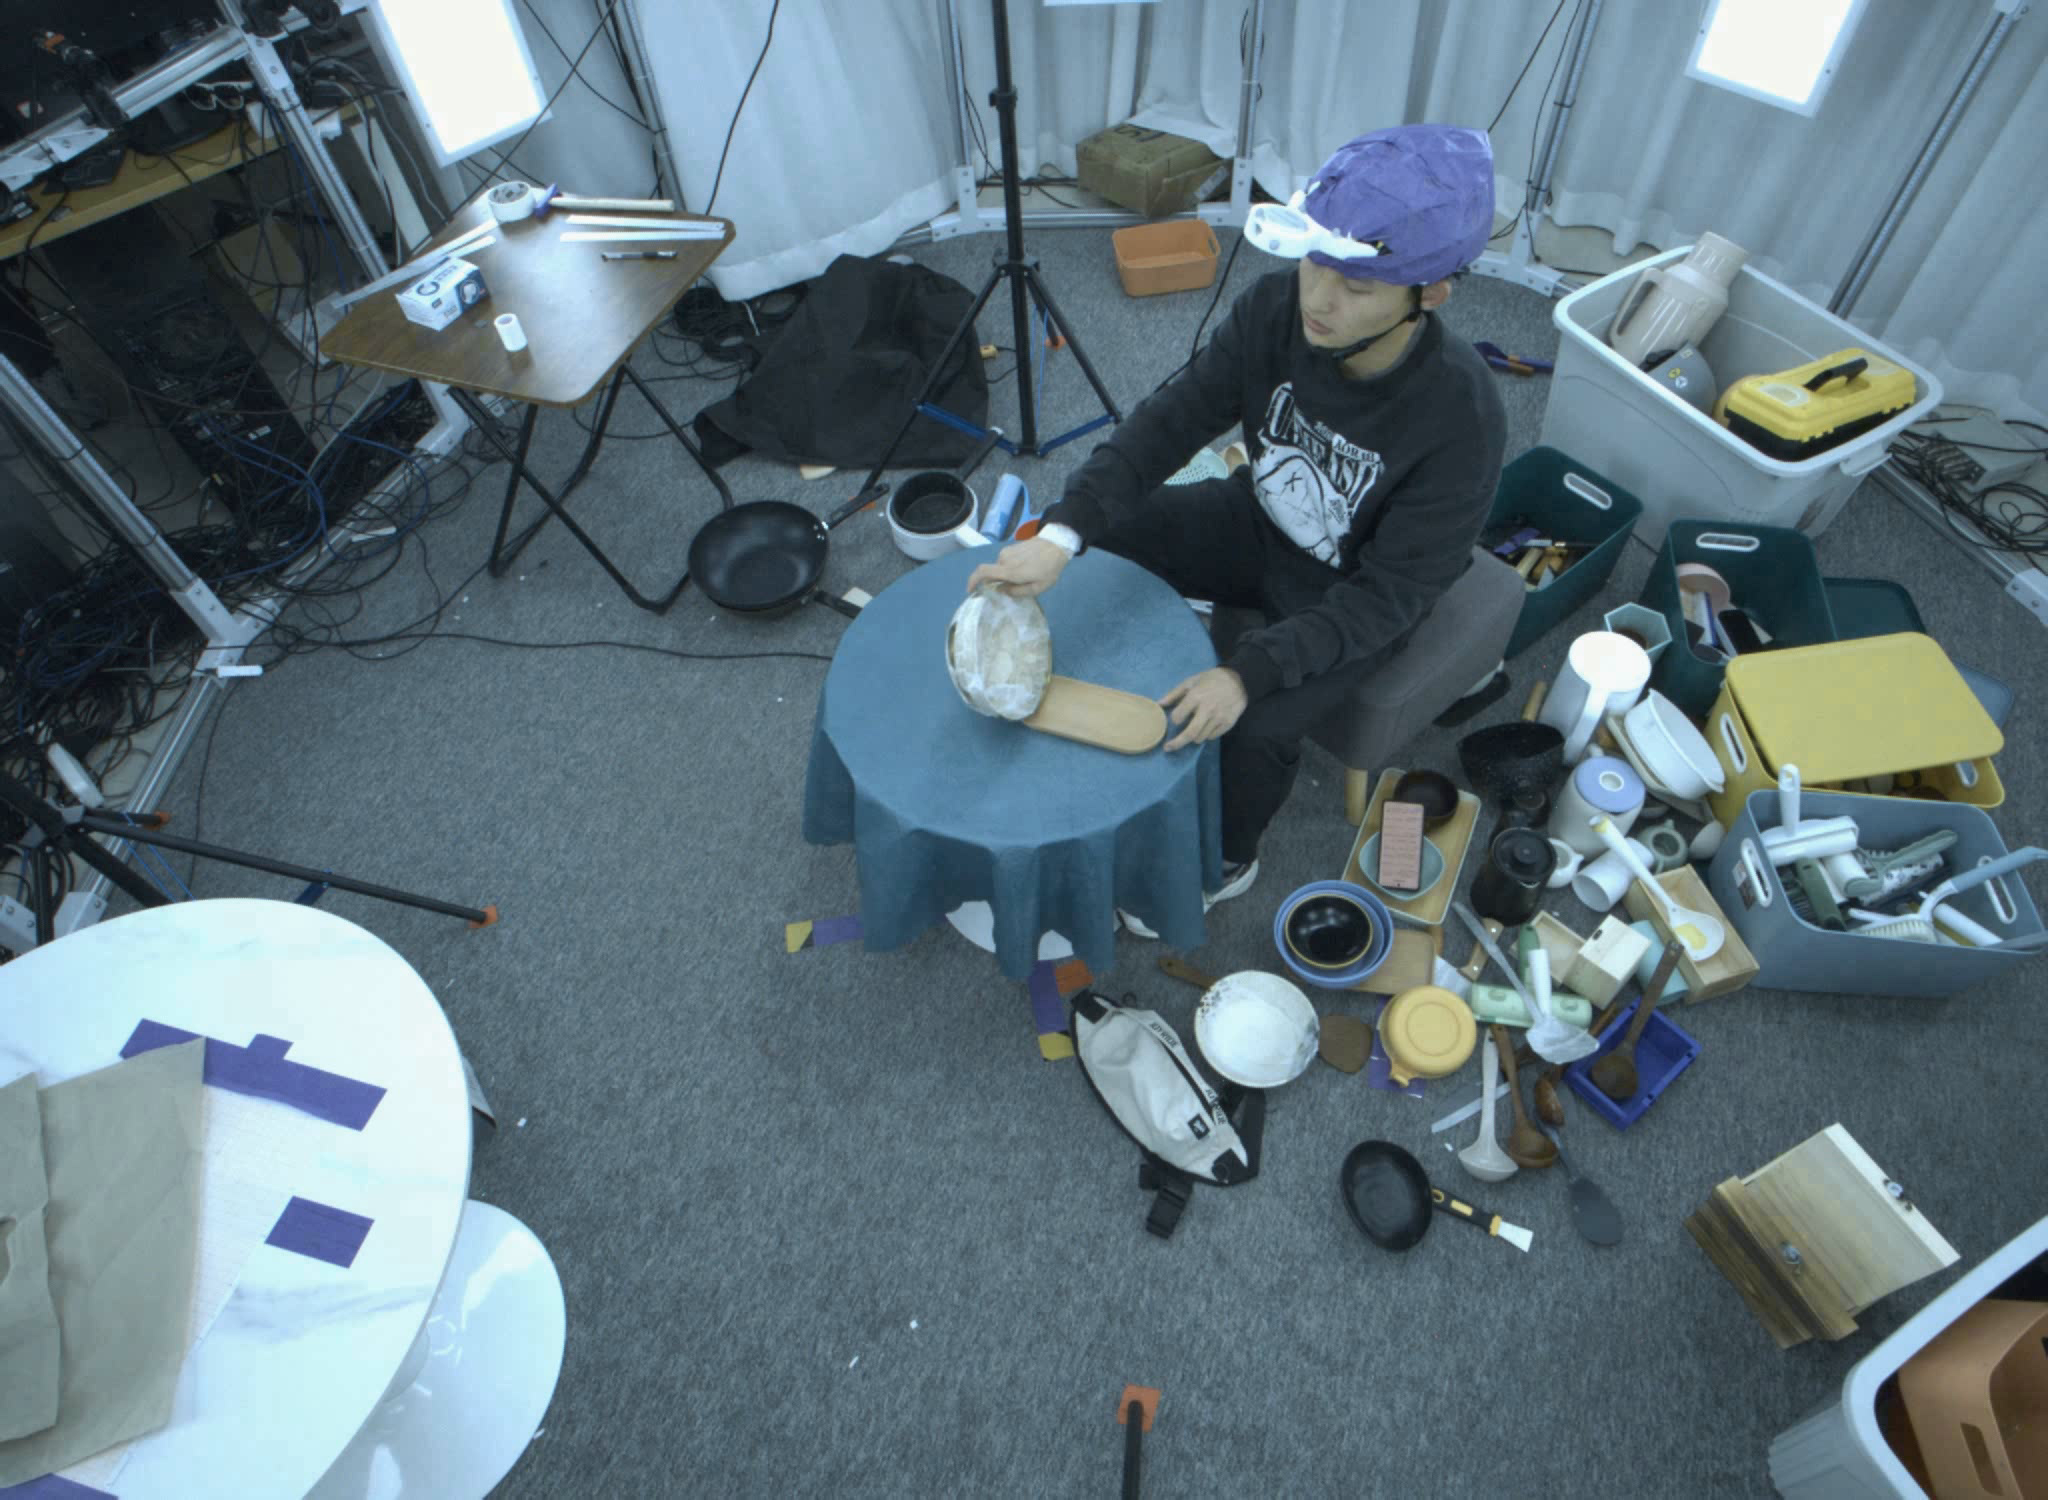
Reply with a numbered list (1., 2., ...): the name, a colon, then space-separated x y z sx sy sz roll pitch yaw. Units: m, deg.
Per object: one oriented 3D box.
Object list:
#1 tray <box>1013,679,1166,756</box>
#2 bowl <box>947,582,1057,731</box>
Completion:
1. tray: 0.096 -0.048 1.820 0.229 0.020 0.101 13 54 13
2. bowl: -0.046 -0.134 1.777 0.093 0.219 0.214 -1 52 32
